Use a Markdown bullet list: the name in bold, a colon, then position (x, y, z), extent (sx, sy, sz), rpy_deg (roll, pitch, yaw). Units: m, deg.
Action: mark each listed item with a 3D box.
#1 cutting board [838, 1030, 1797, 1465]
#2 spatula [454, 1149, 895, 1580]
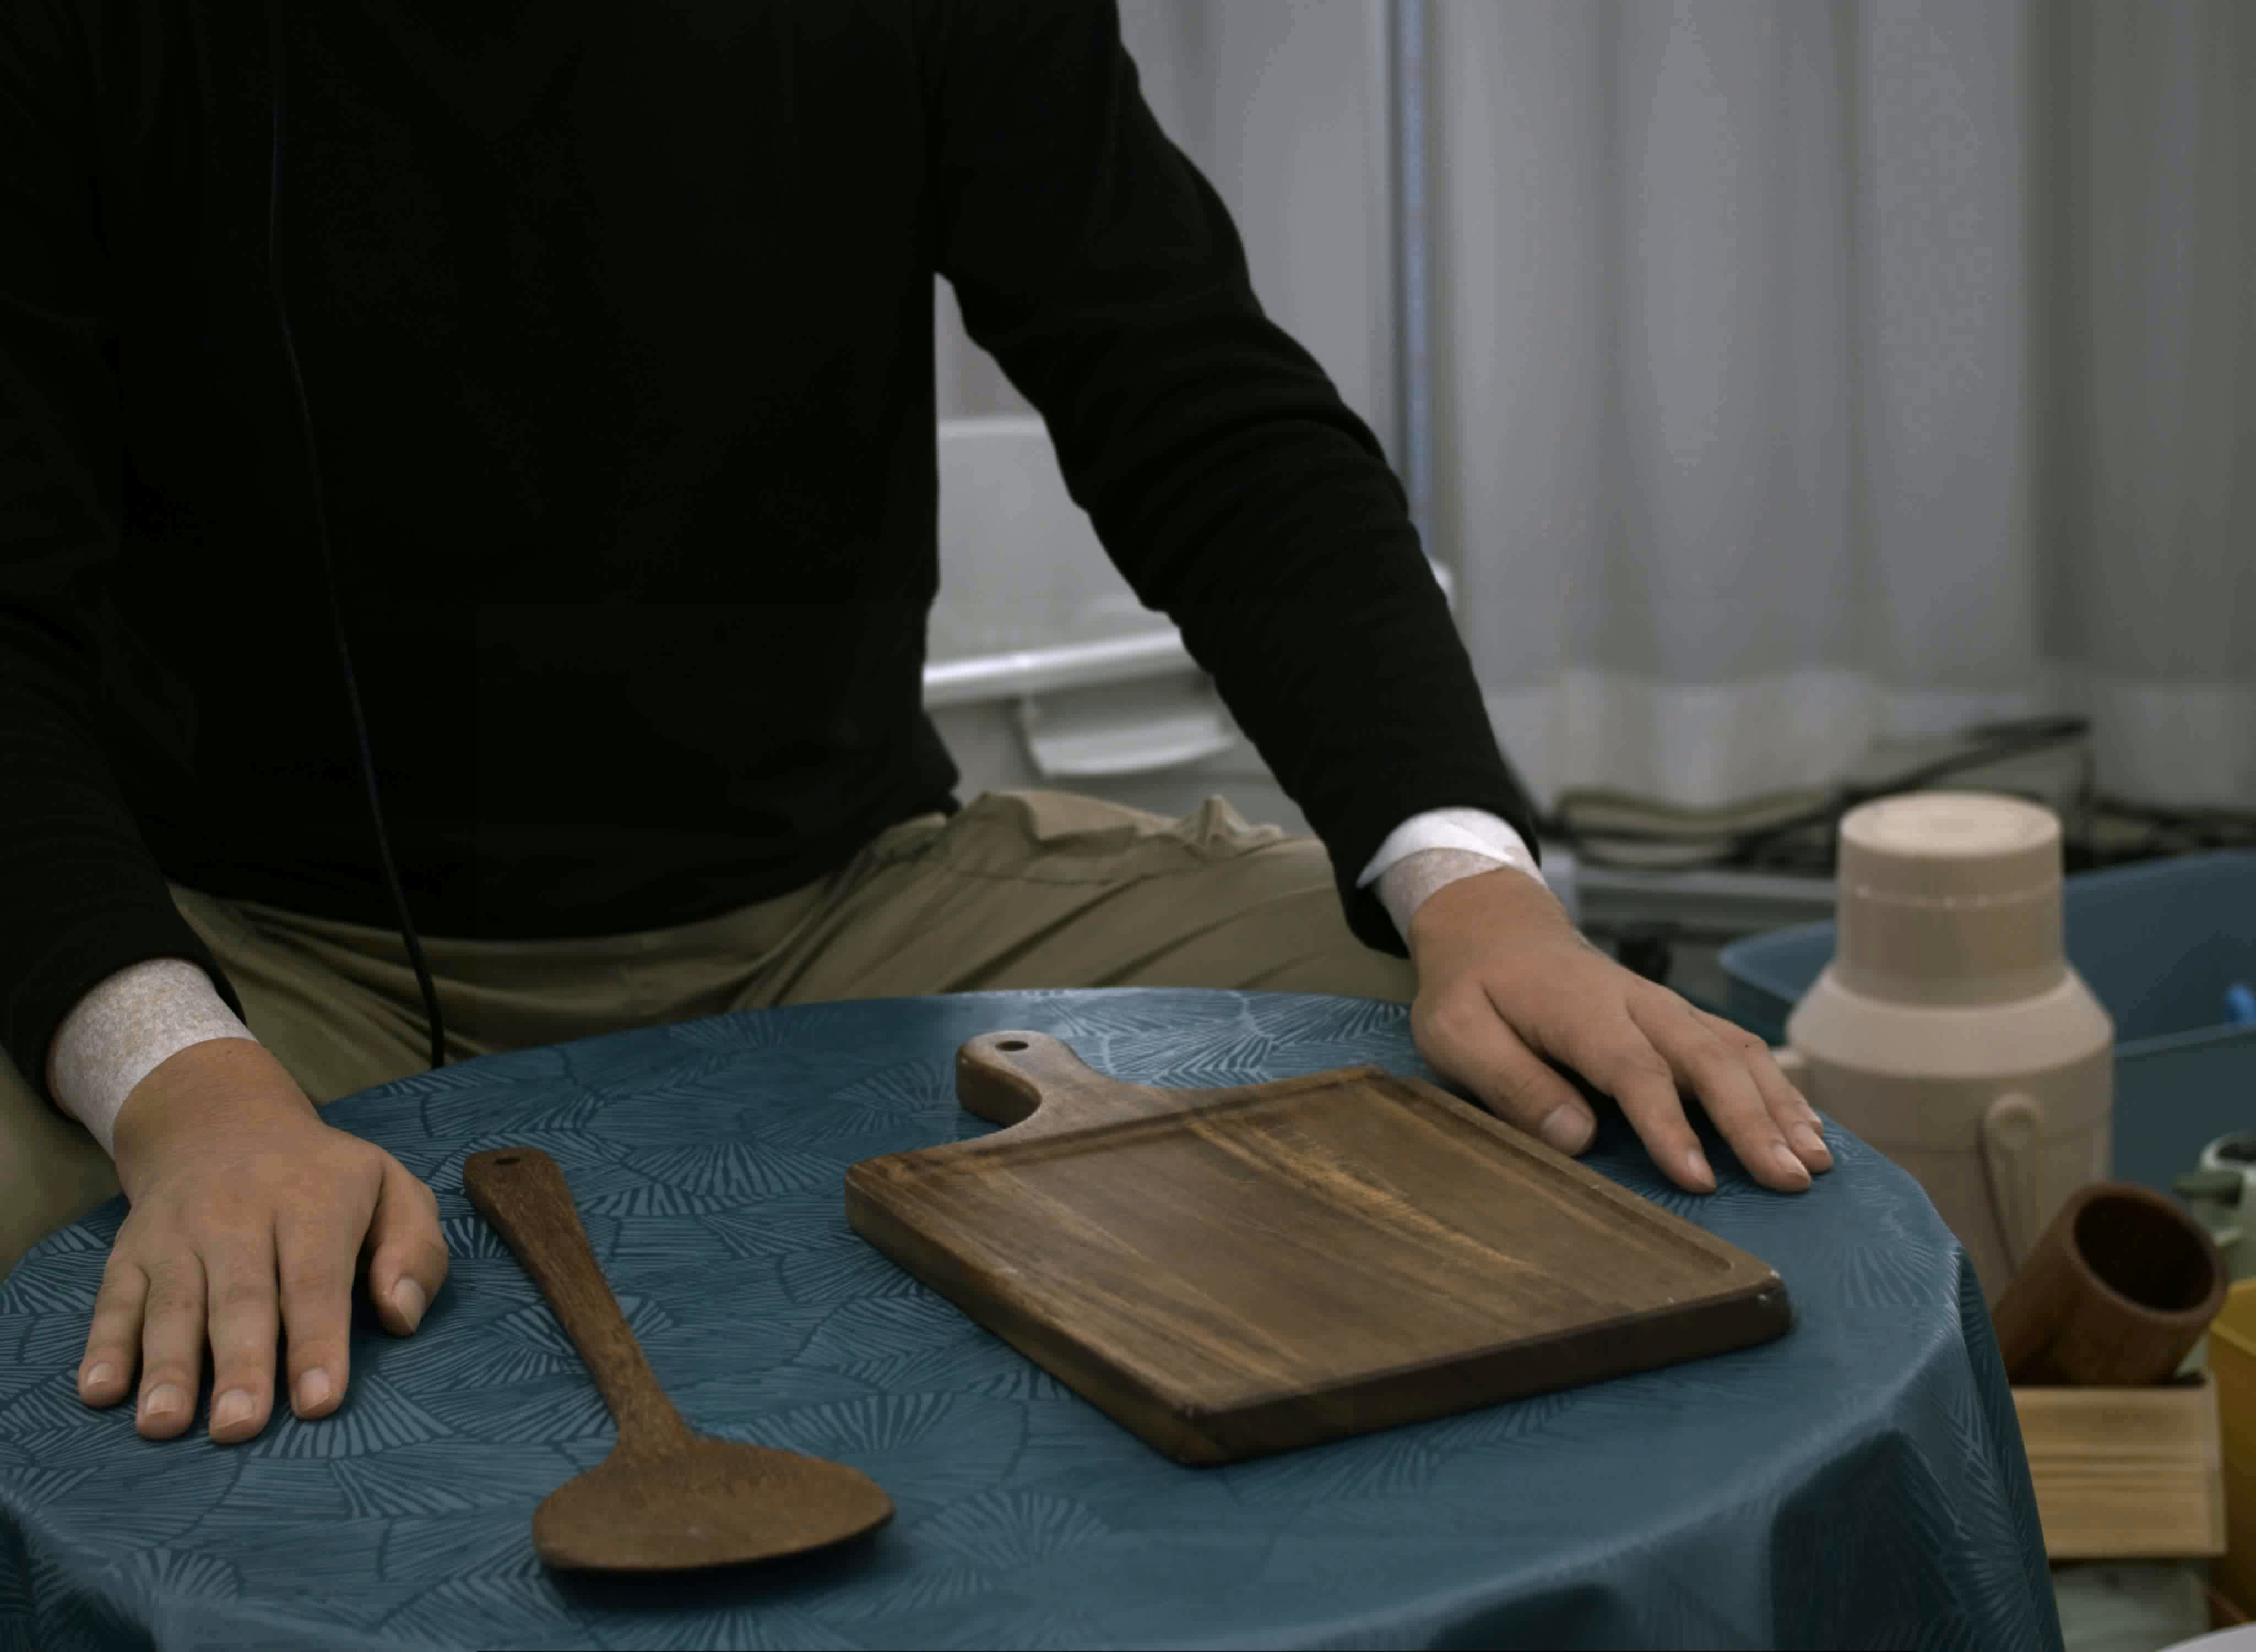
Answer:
- **cutting board**: position (0.029, 0.114, 1.669), extent (0.200, 0.023, 0.355), rpy_deg (-9, 16, -24)
- **spatula**: position (-0.153, 0.149, 1.586), extent (0.095, 0.016, 0.389), rpy_deg (-7, 15, -15)
